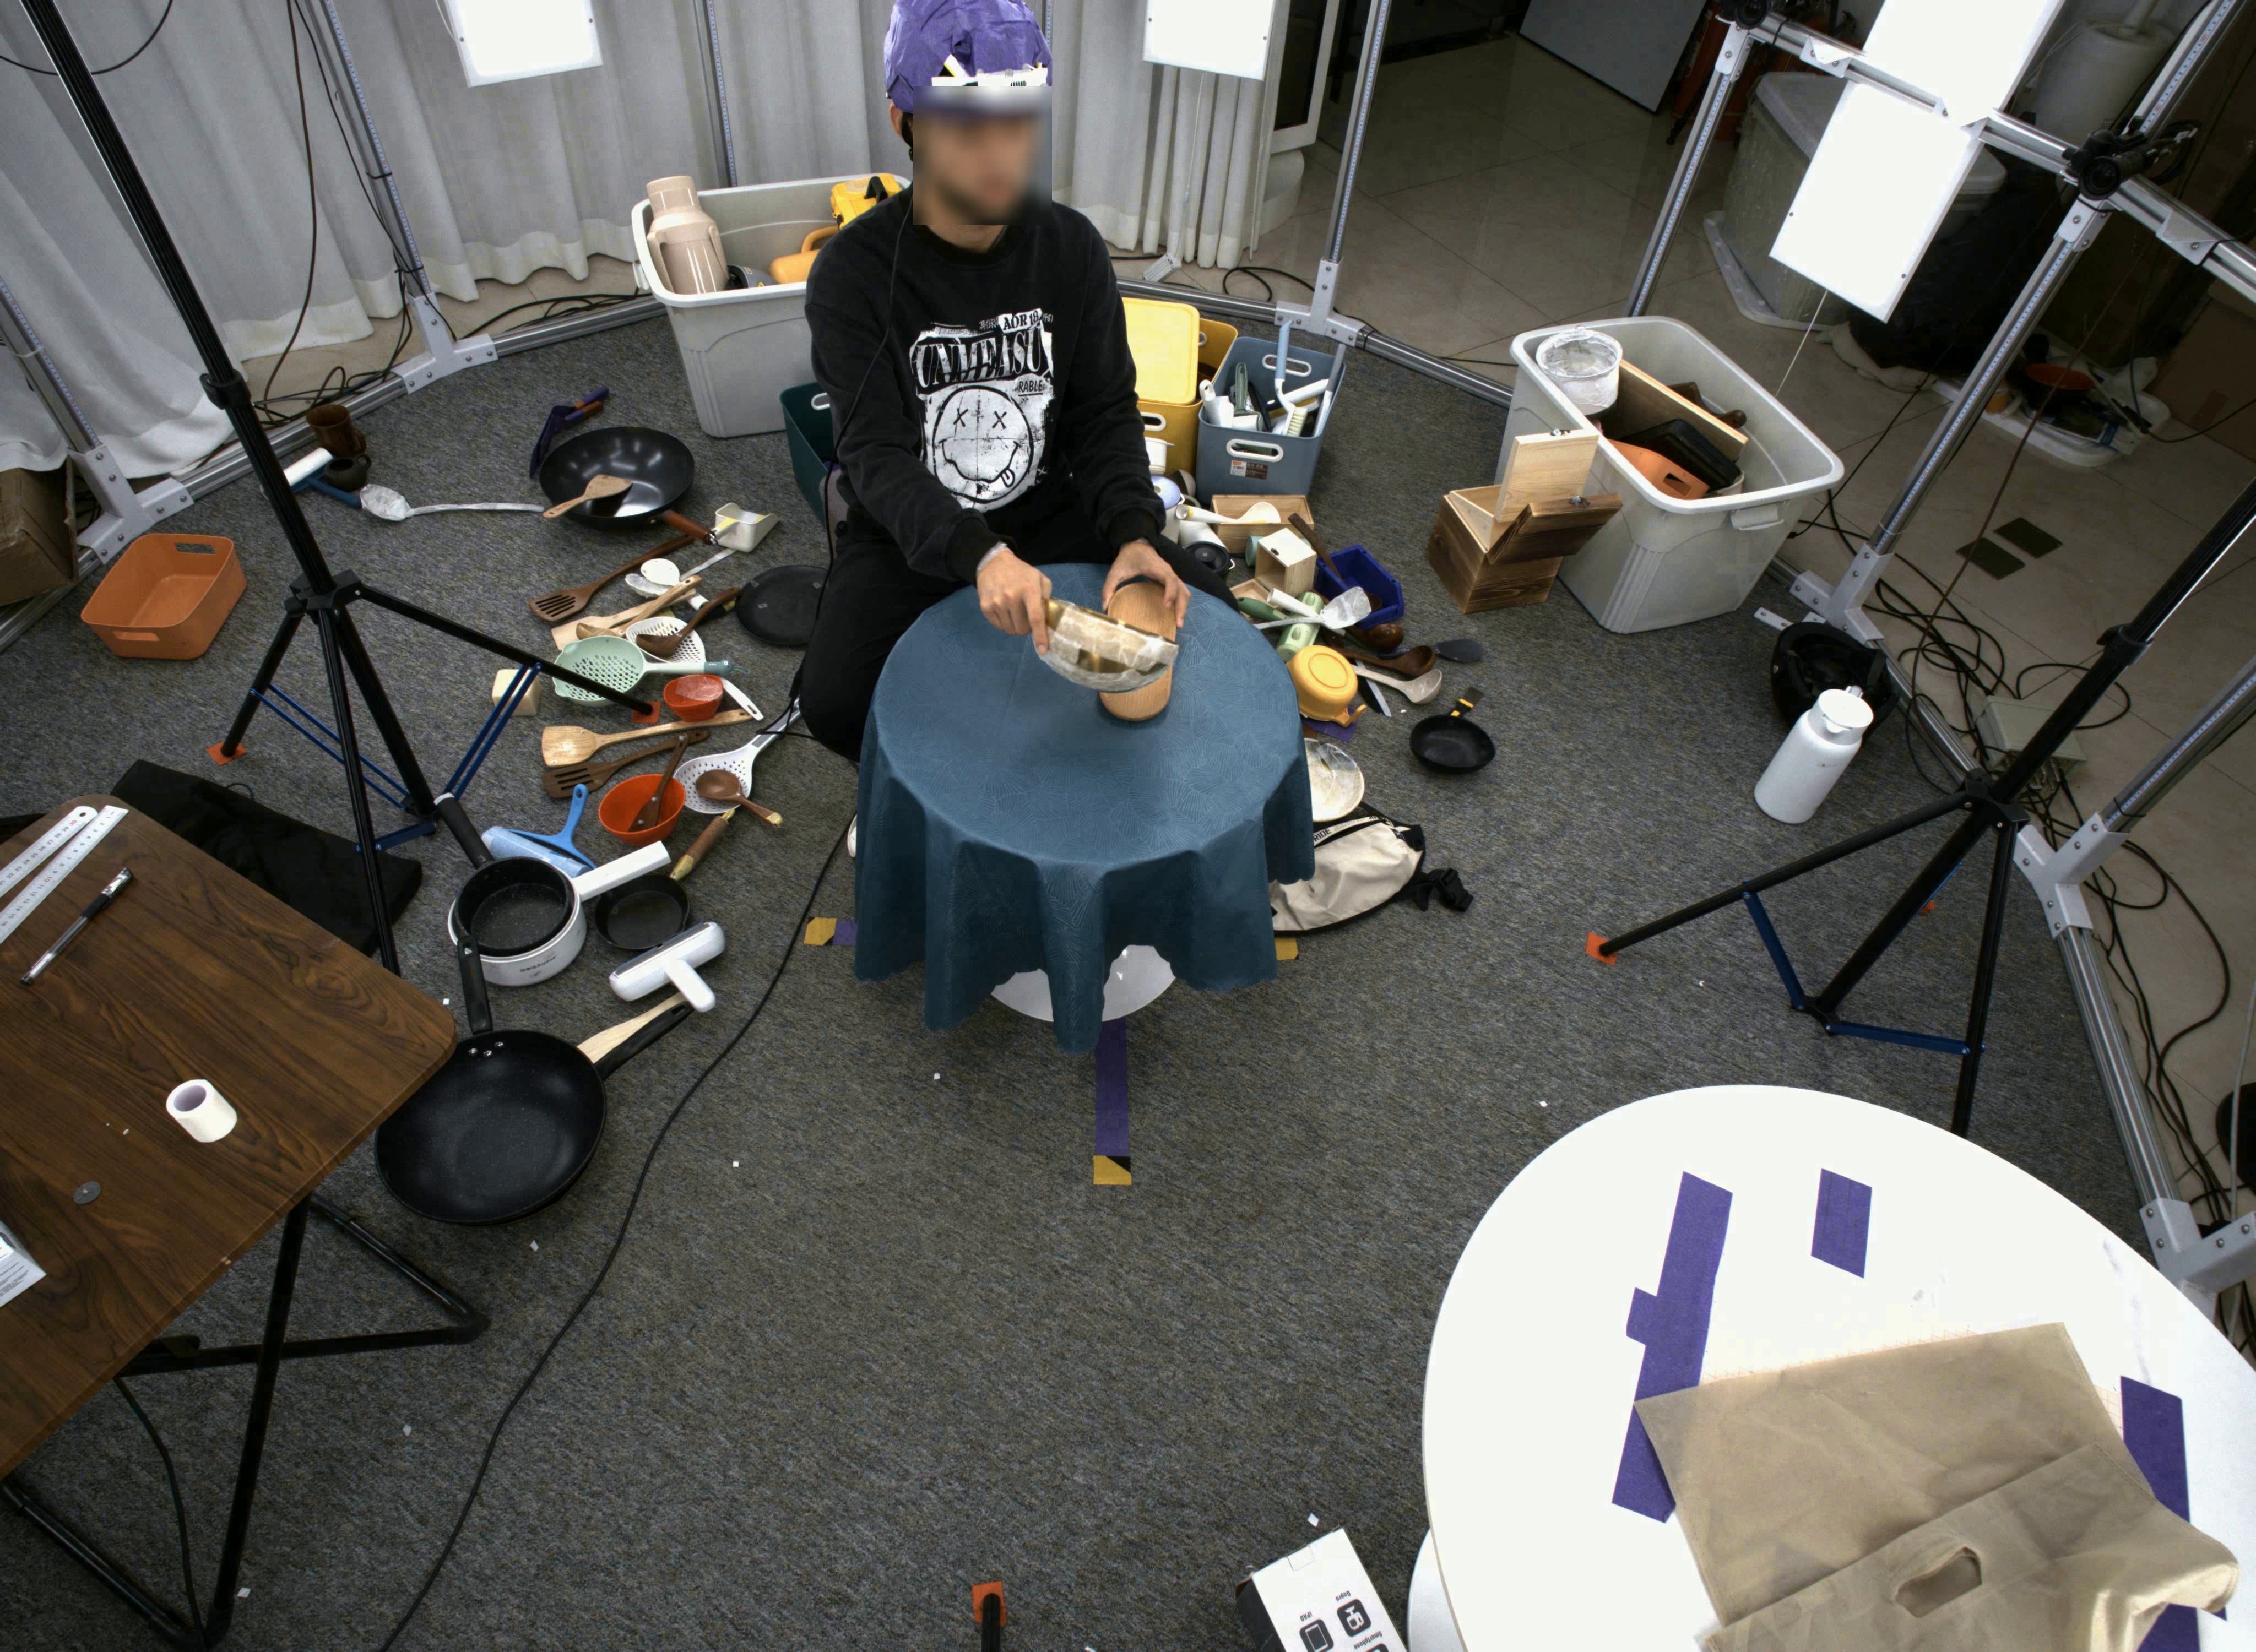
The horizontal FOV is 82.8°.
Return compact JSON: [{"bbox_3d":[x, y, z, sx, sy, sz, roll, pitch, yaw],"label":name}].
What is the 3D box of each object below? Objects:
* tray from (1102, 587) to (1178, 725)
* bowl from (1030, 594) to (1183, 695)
[{"bbox_3d":[0.018,-0.248,1.857,0.102,0.020,0.236,3,64,4],"label":"tray"},{"bbox_3d":[-0.041,-0.226,1.681,0.214,0.094,0.217,18,12,-4],"label":"bowl"}]
